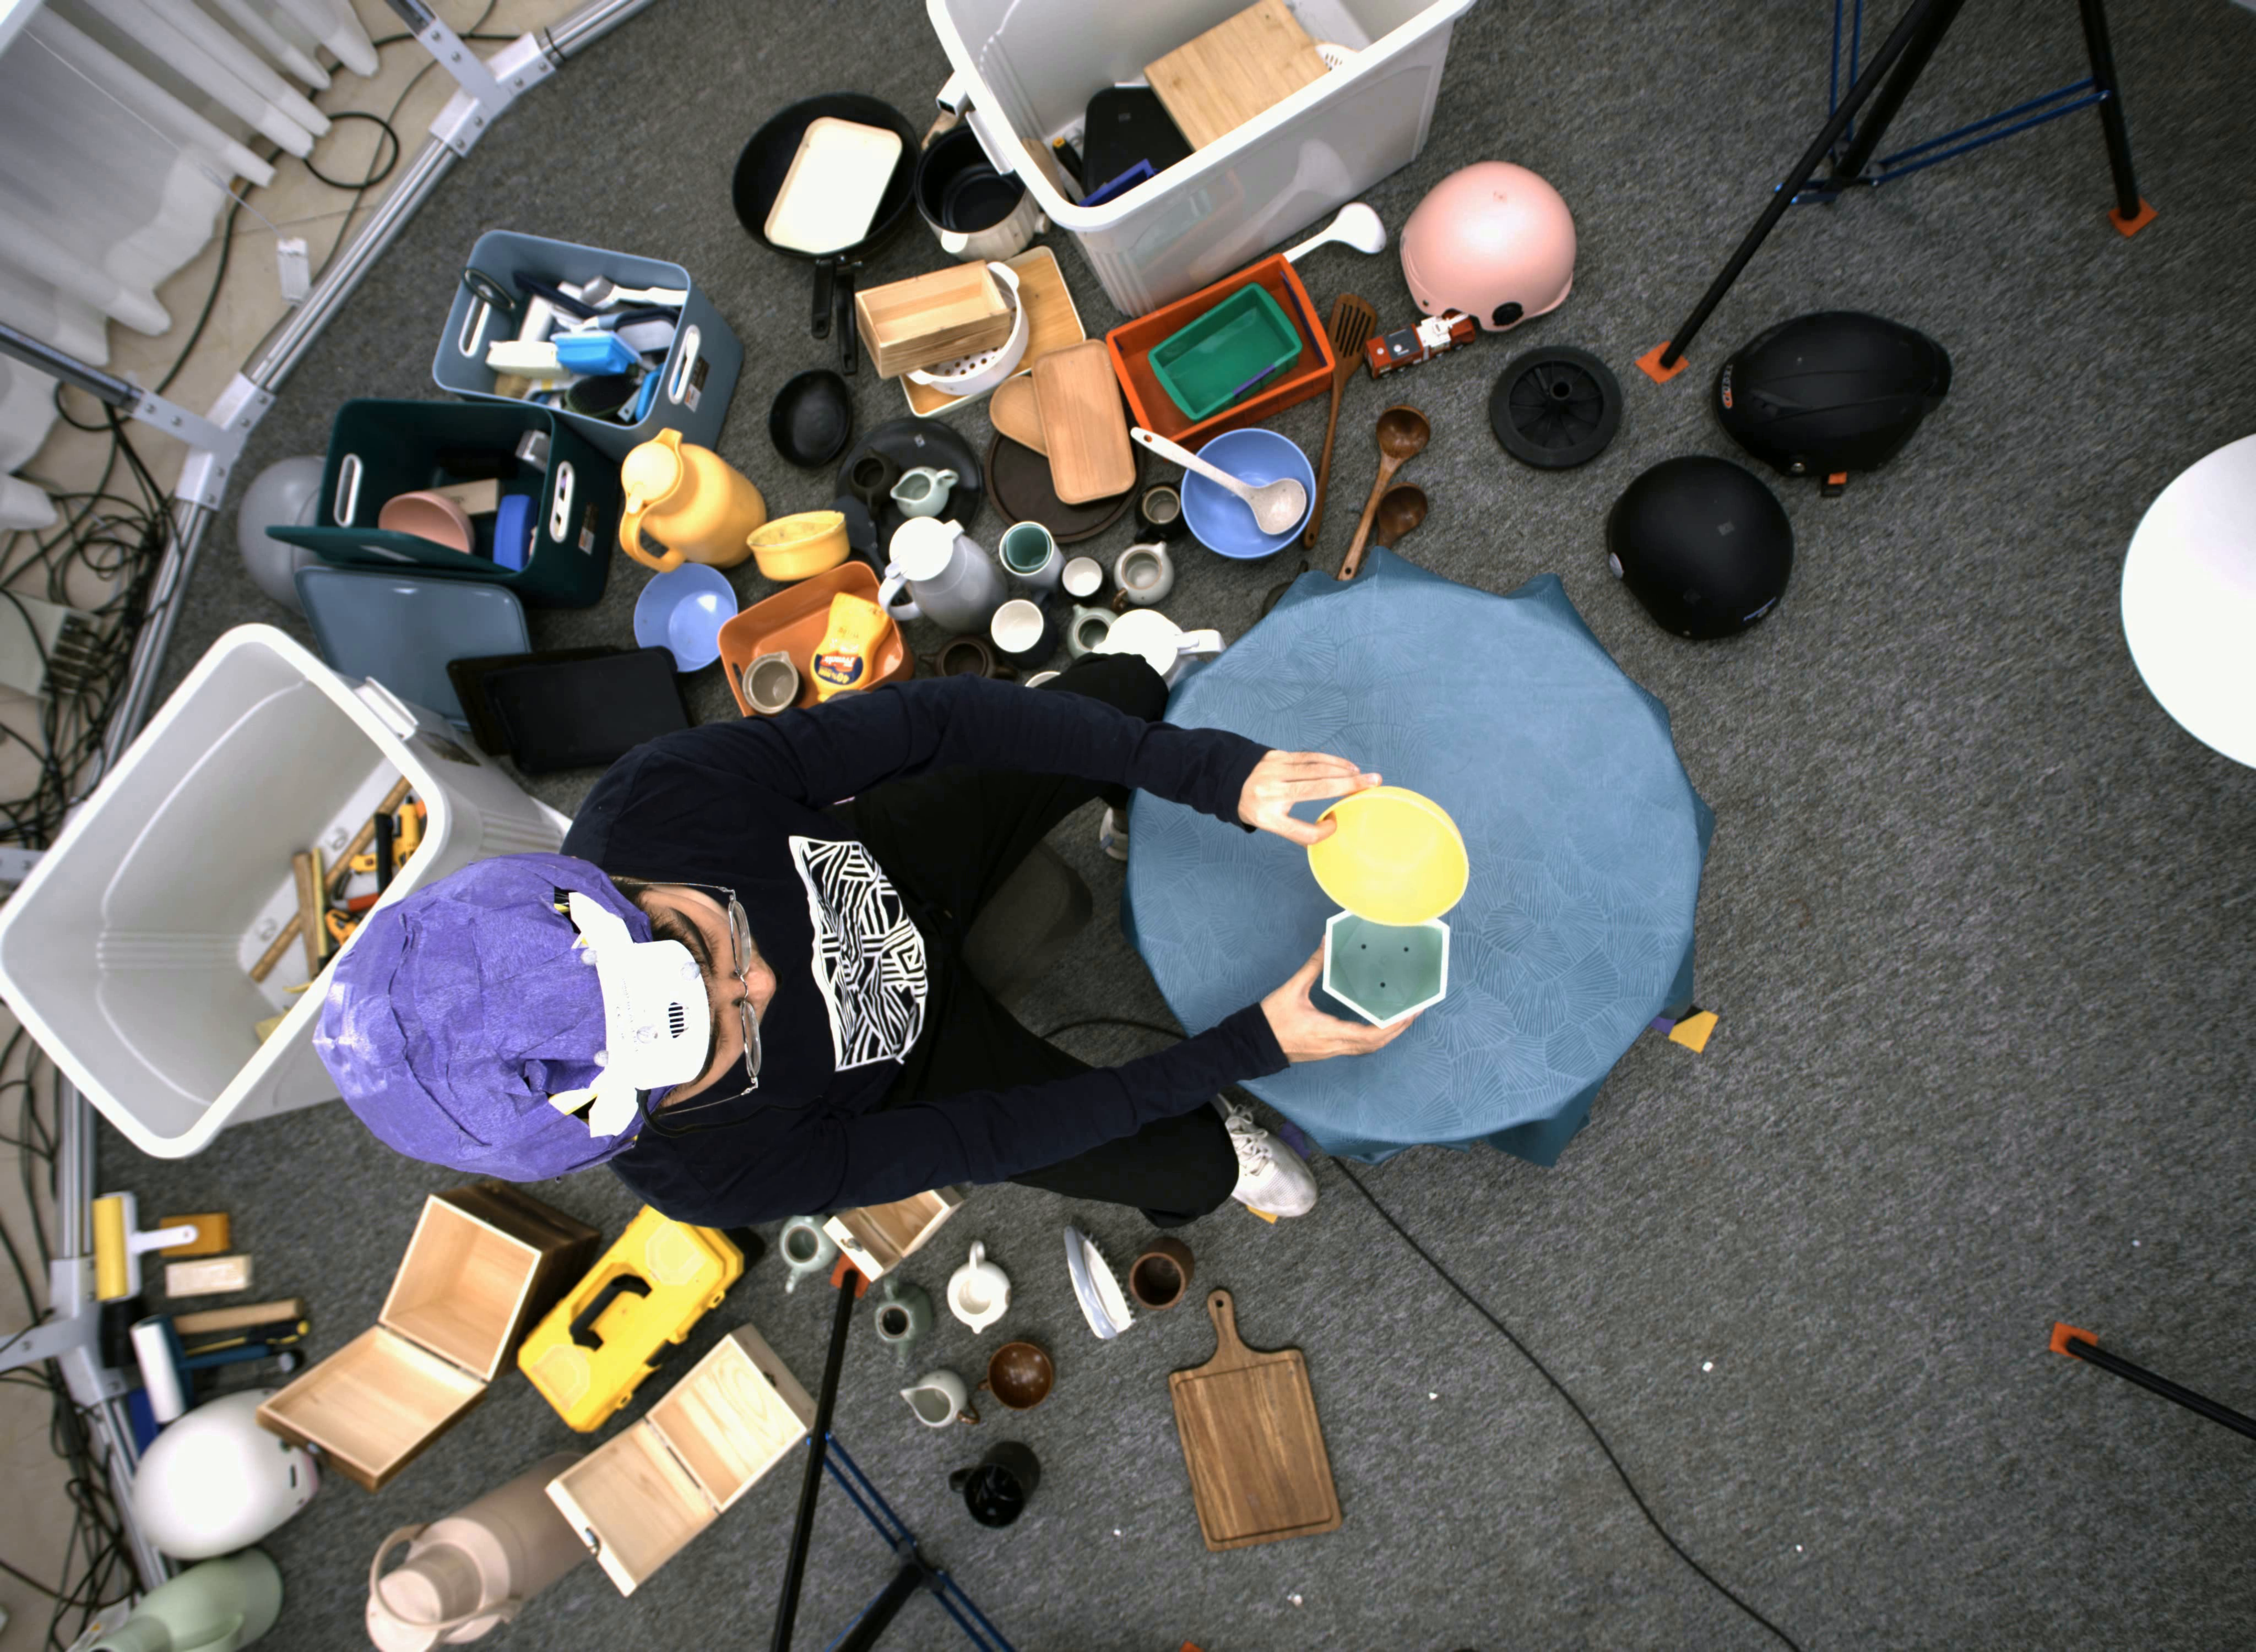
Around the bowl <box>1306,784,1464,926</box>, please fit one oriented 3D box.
[{"bbox_3d":[0.239,0.014,1.251,0.145,0.058,0.149,14,129,18],"label":"bowl"}]

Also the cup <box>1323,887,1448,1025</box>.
[{"bbox_3d":[0.256,0.129,1.375,0.115,0.163,0.130,2,85,11],"label":"cup"}]
